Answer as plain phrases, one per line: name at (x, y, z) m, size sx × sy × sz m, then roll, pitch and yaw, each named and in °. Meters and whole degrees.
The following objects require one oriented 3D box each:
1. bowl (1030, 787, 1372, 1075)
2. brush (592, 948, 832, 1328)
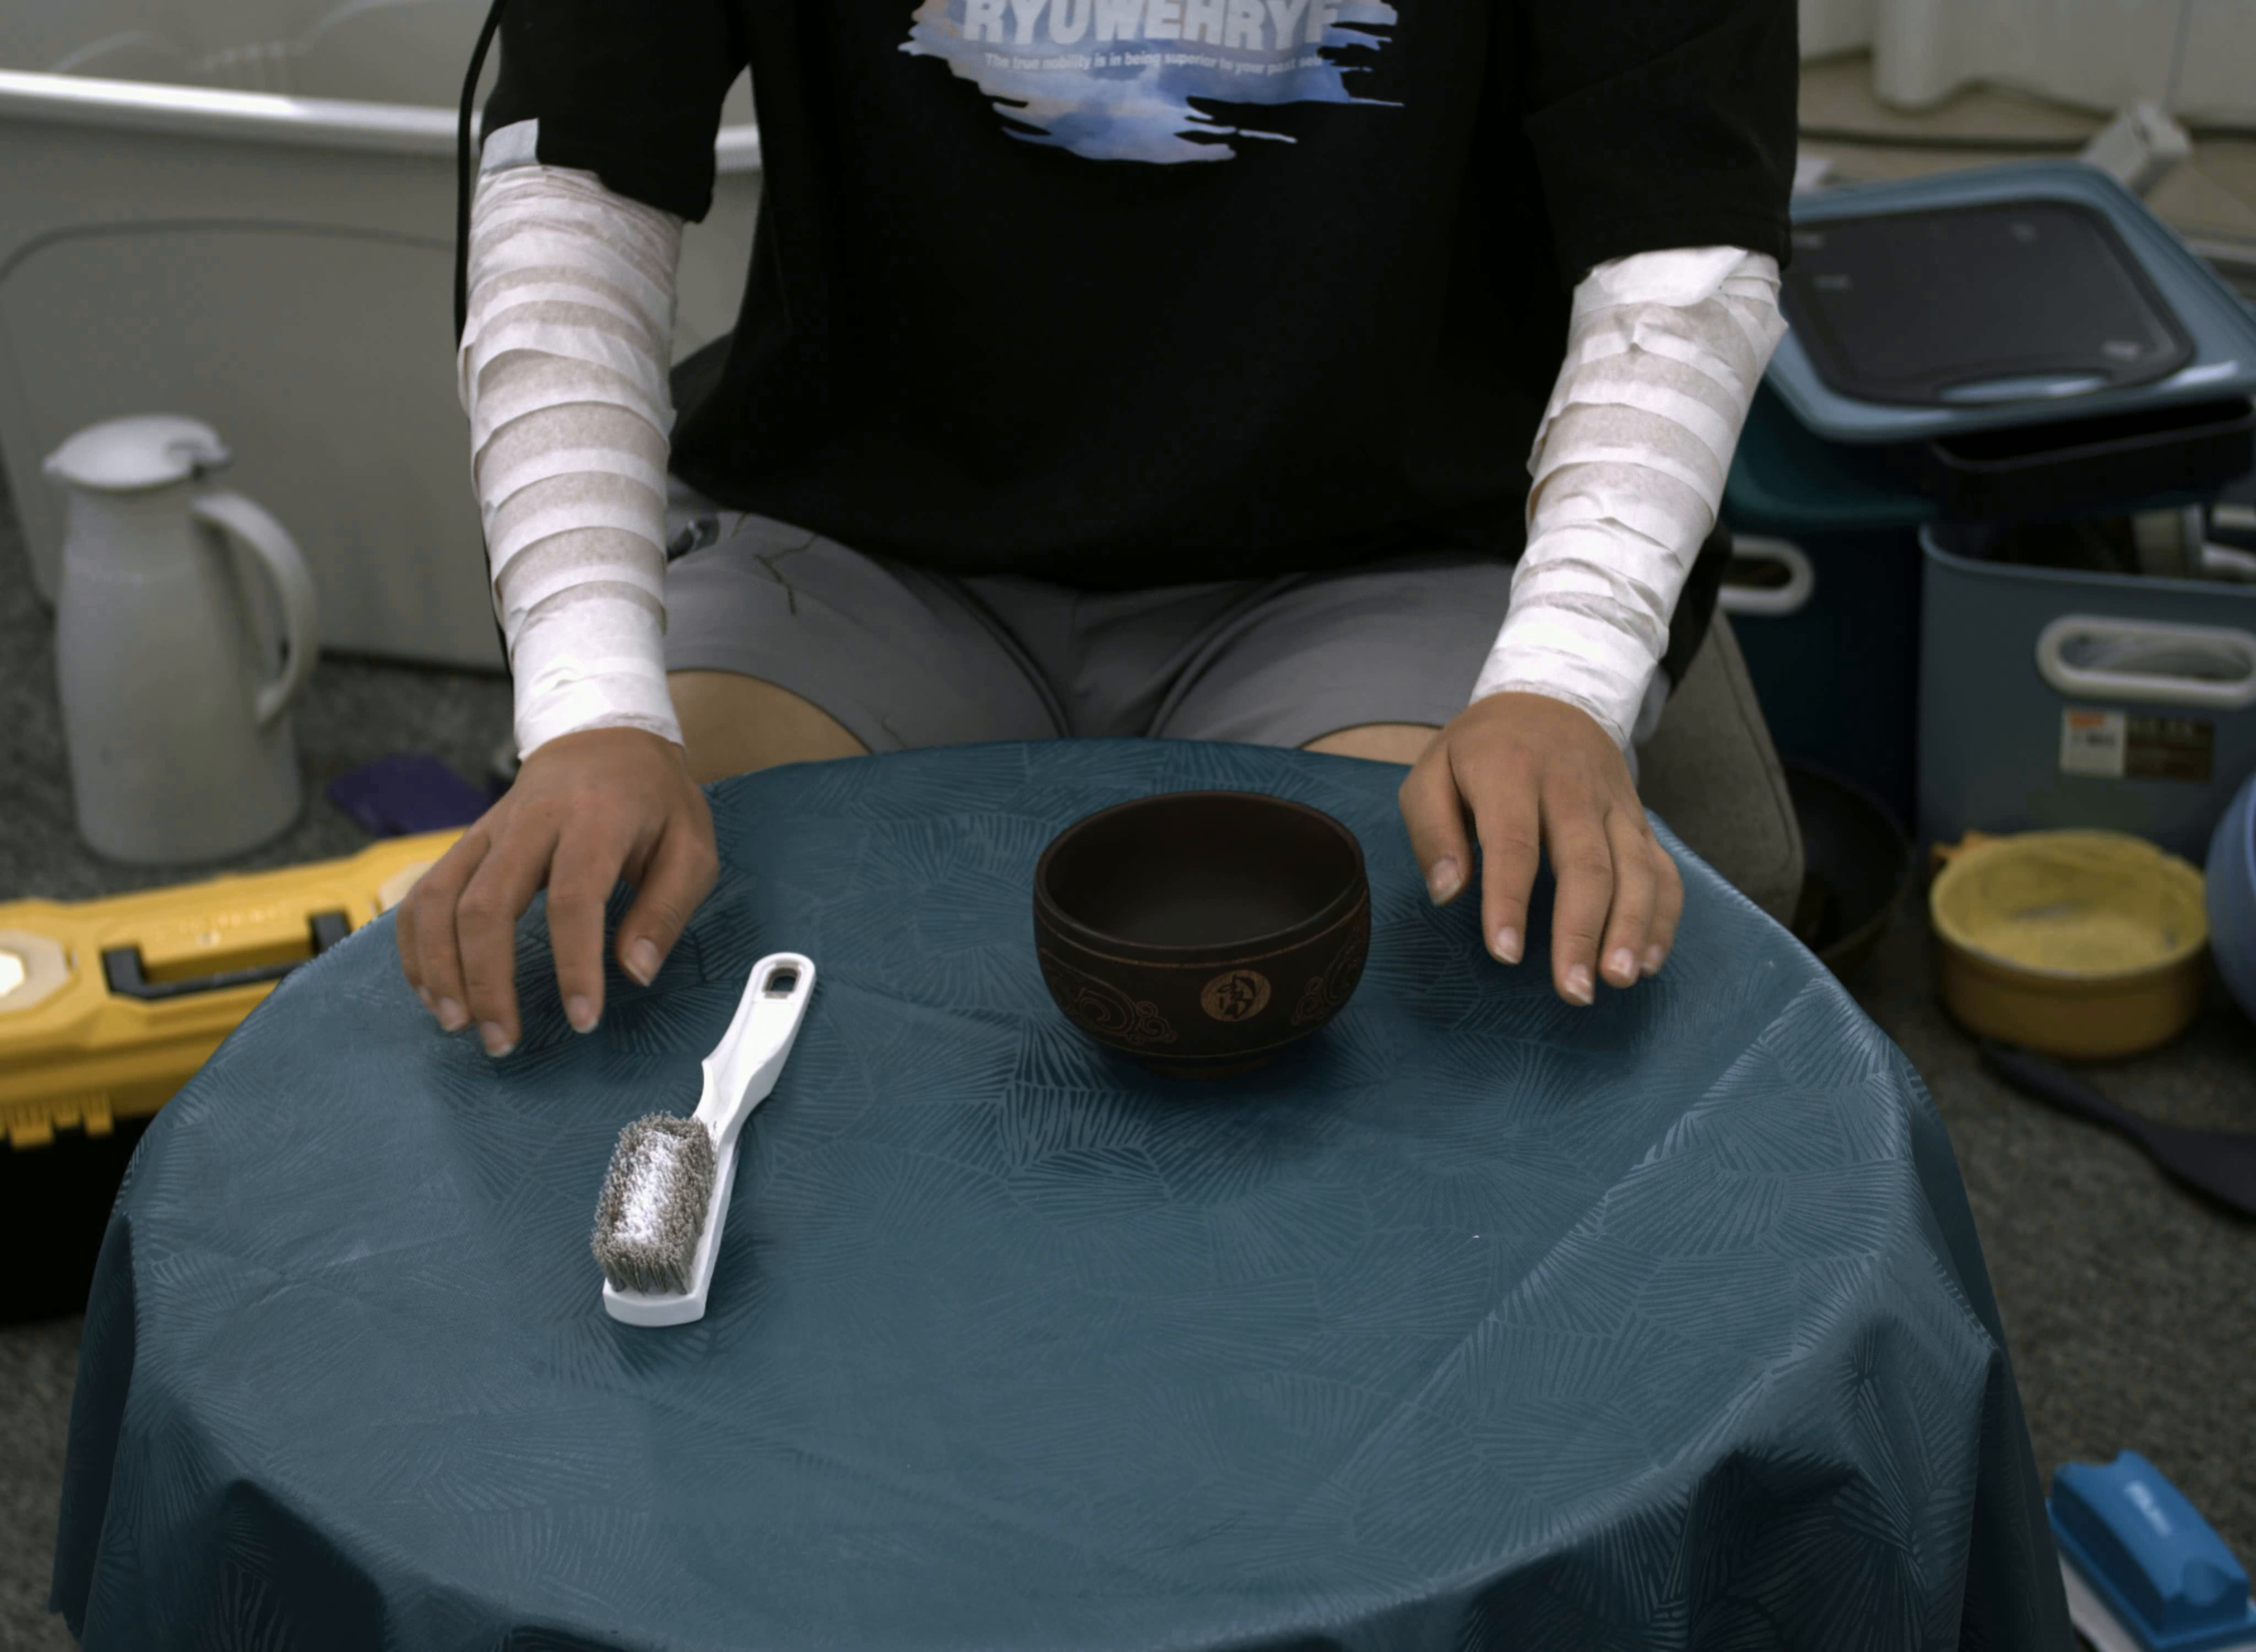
bowl at (0.026, 0.042, 1.934) m, size 0.117 × 0.069 × 0.120 m, roll -3°, pitch 25°, yaw 2°
brush at (-0.136, 0.087, 1.886) m, size 0.034 × 0.049 × 0.248 m, roll 3°, pitch 29°, yaw 10°
